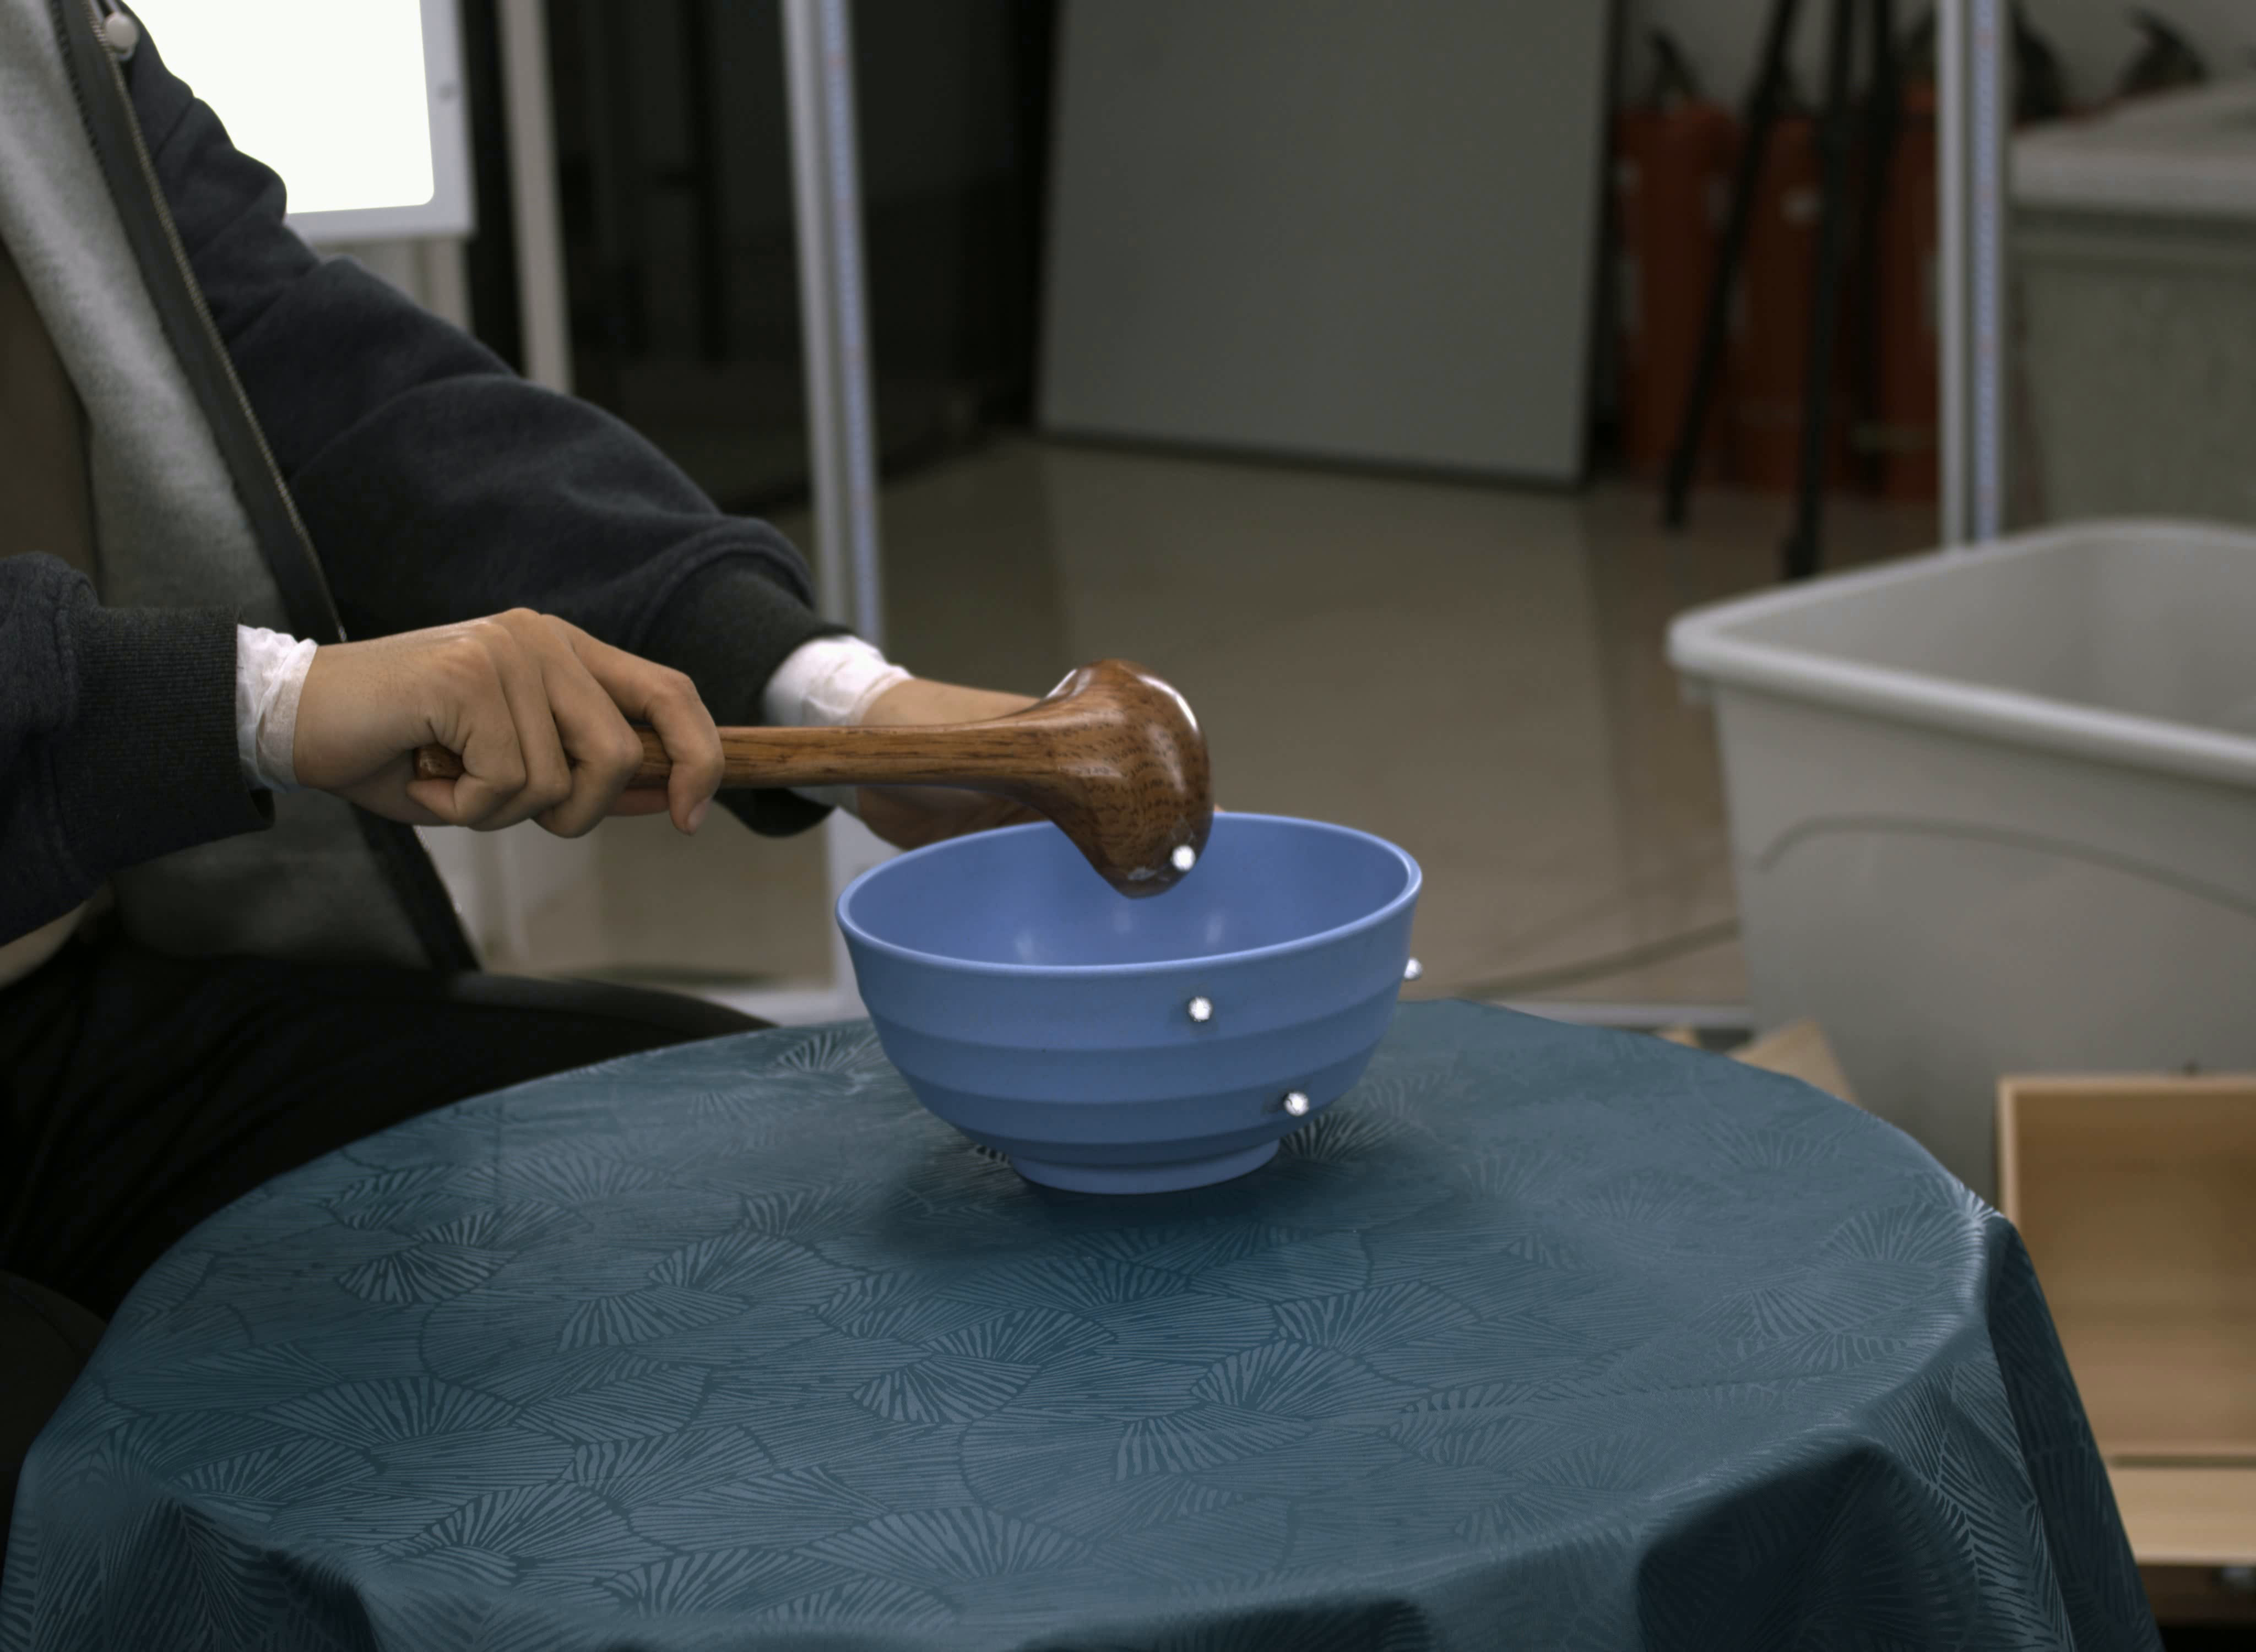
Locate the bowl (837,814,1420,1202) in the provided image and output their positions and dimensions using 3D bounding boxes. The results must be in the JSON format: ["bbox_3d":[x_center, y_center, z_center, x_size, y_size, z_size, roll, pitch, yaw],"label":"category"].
[{"bbox_3d":[0.004,0.066,1.796,0.194,0.096,0.197,-5,13,0],"label":"bowl"}]

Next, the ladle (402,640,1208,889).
[{"bbox_3d":[-0.102,-0.016,1.744,0.269,0.083,0.077,-3,-18,-13],"label":"ladle"}]
